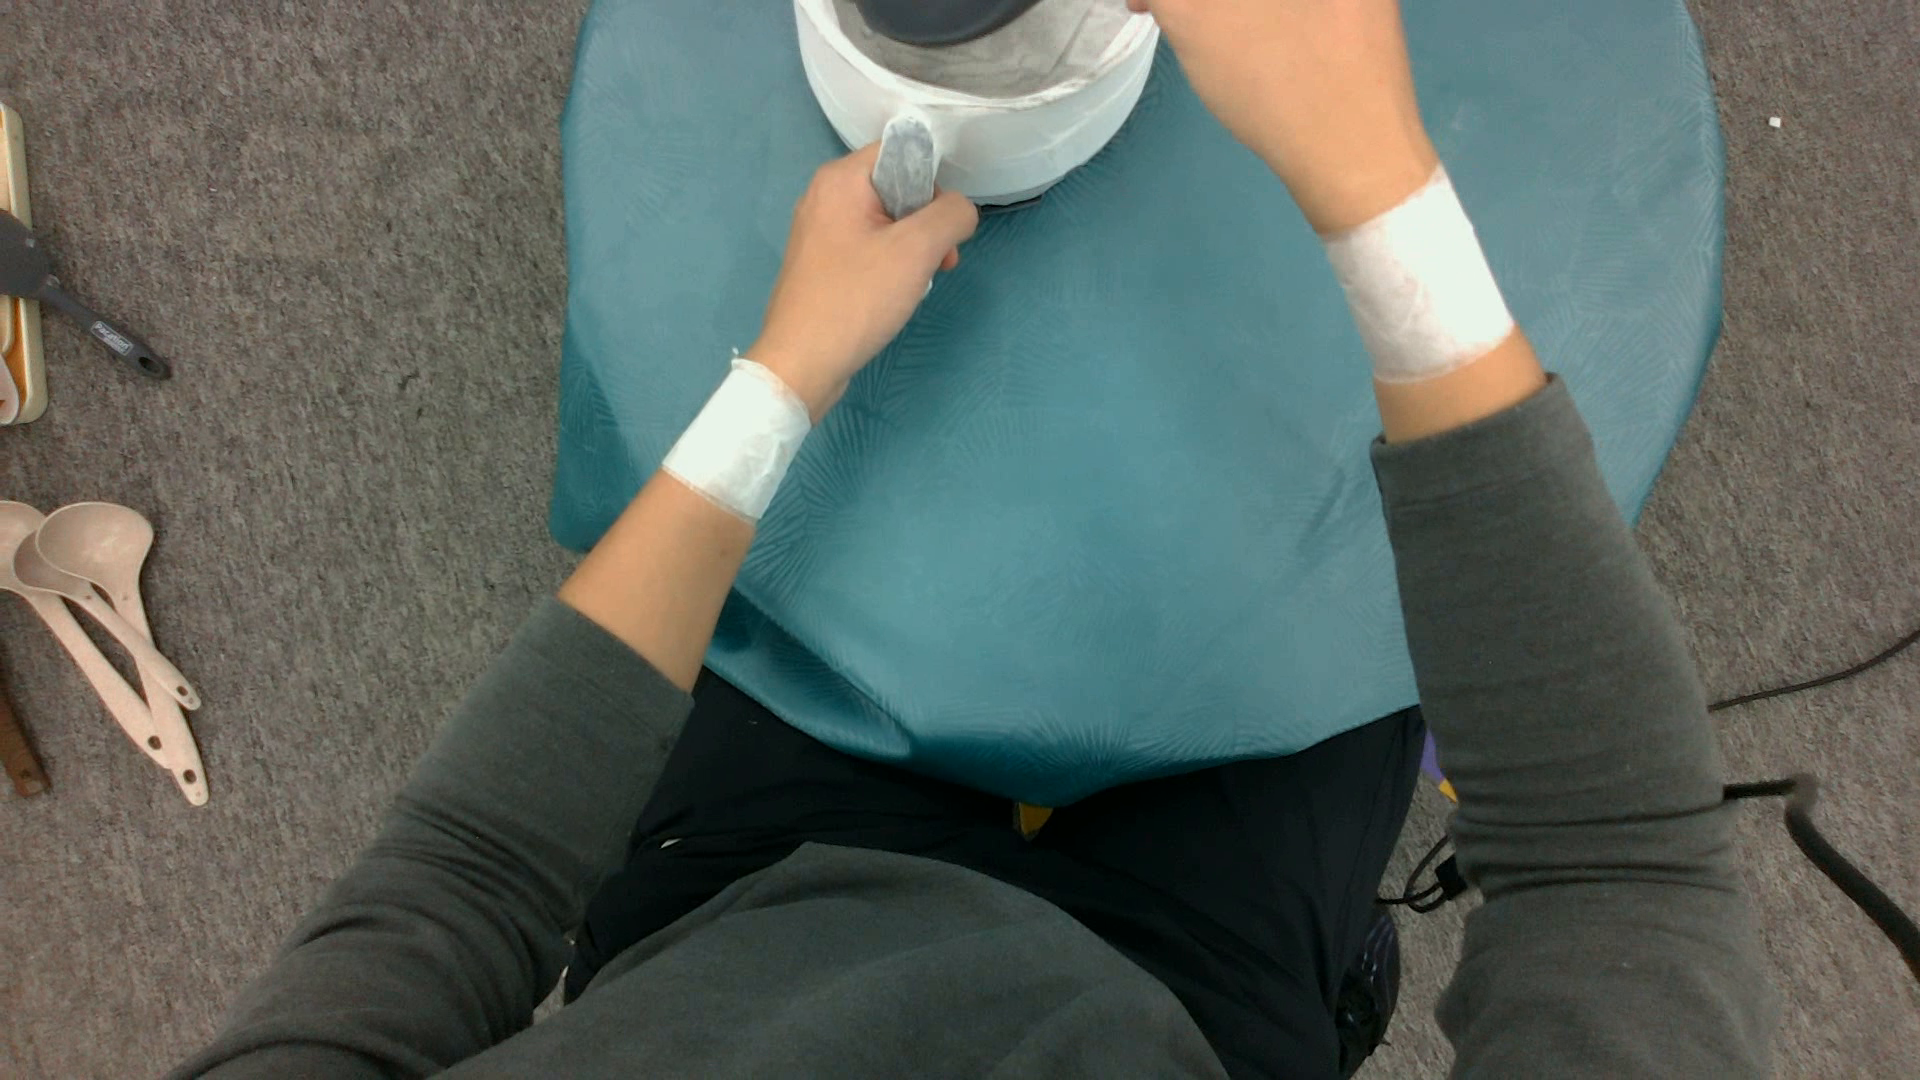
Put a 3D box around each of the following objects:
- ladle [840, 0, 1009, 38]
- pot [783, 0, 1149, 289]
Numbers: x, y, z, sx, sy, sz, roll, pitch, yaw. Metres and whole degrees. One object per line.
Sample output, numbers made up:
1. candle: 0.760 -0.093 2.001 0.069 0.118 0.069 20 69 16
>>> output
1. ladle: 0.027 -0.234 0.492 0.064 0.314 0.086 37 88 -20
2. pot: -0.005 -0.238 0.645 0.179 0.136 0.234 17 84 1
